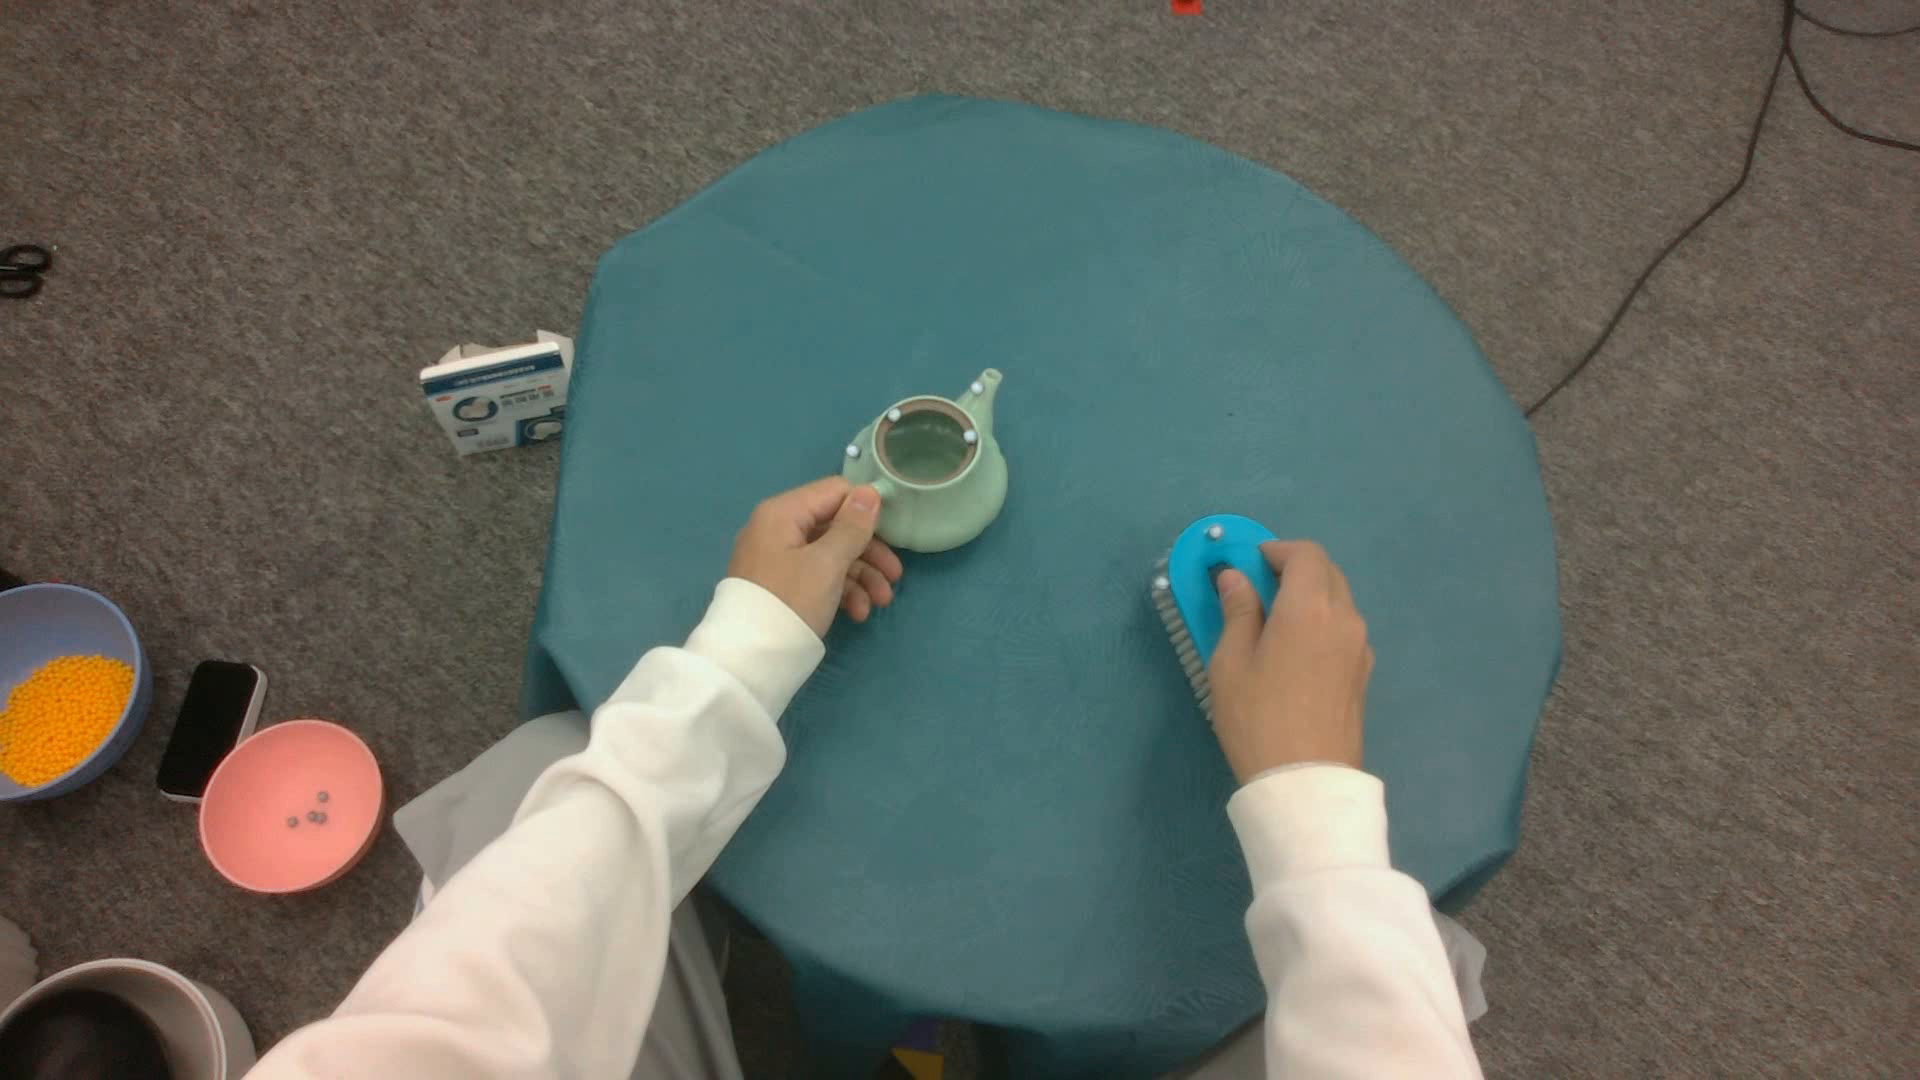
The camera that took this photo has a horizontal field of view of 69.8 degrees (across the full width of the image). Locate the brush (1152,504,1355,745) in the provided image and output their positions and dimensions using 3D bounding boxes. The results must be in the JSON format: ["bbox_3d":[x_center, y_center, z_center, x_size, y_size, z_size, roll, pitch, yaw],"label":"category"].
[{"bbox_3d":[0.170,0.040,0.767,0.084,0.063,0.142,-19,75,-19],"label":"brush"}]

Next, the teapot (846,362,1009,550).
[{"bbox_3d":[-0.021,-0.041,0.803,0.096,0.061,0.137,34,65,14],"label":"teapot"}]
